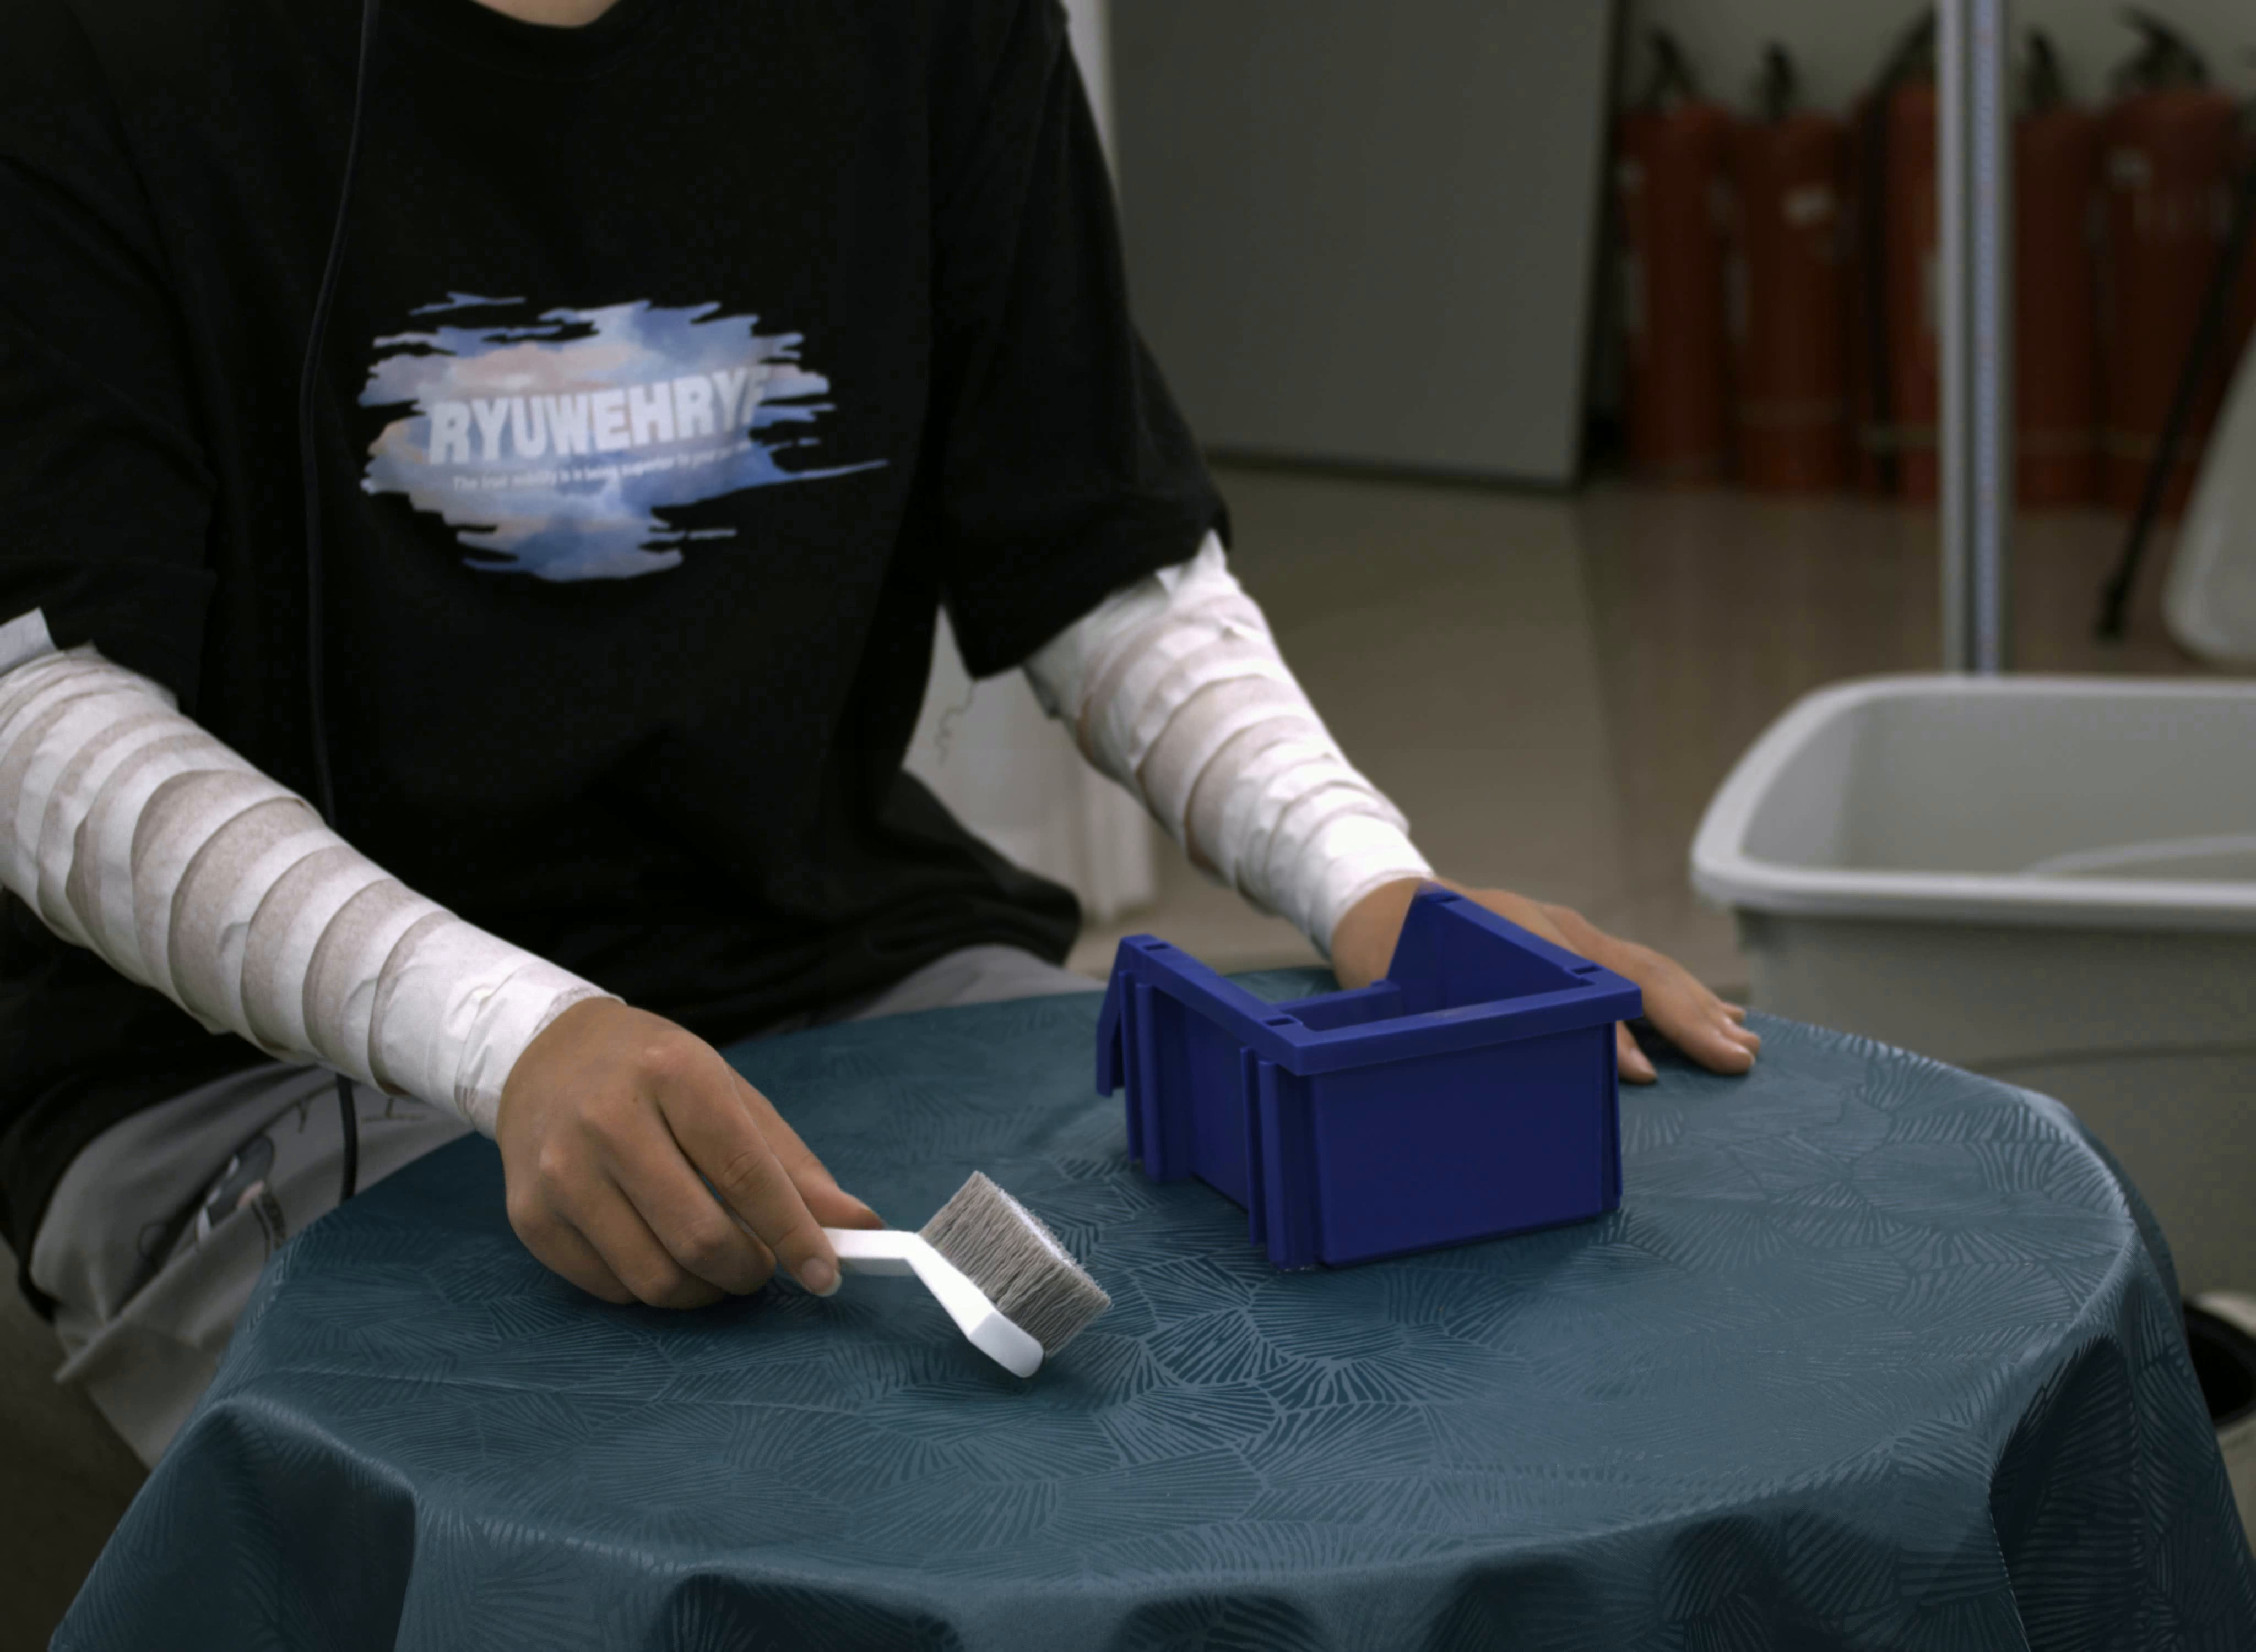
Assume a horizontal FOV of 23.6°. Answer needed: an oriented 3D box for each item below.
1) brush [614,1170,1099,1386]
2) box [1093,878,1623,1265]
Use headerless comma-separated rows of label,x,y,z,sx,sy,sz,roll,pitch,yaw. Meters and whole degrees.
brush,-0.087,0.121,1.680,0.034,0.050,0.246,35,-11,-33
box,0.070,0.077,1.763,0.122,0.083,0.181,-9,15,-18
